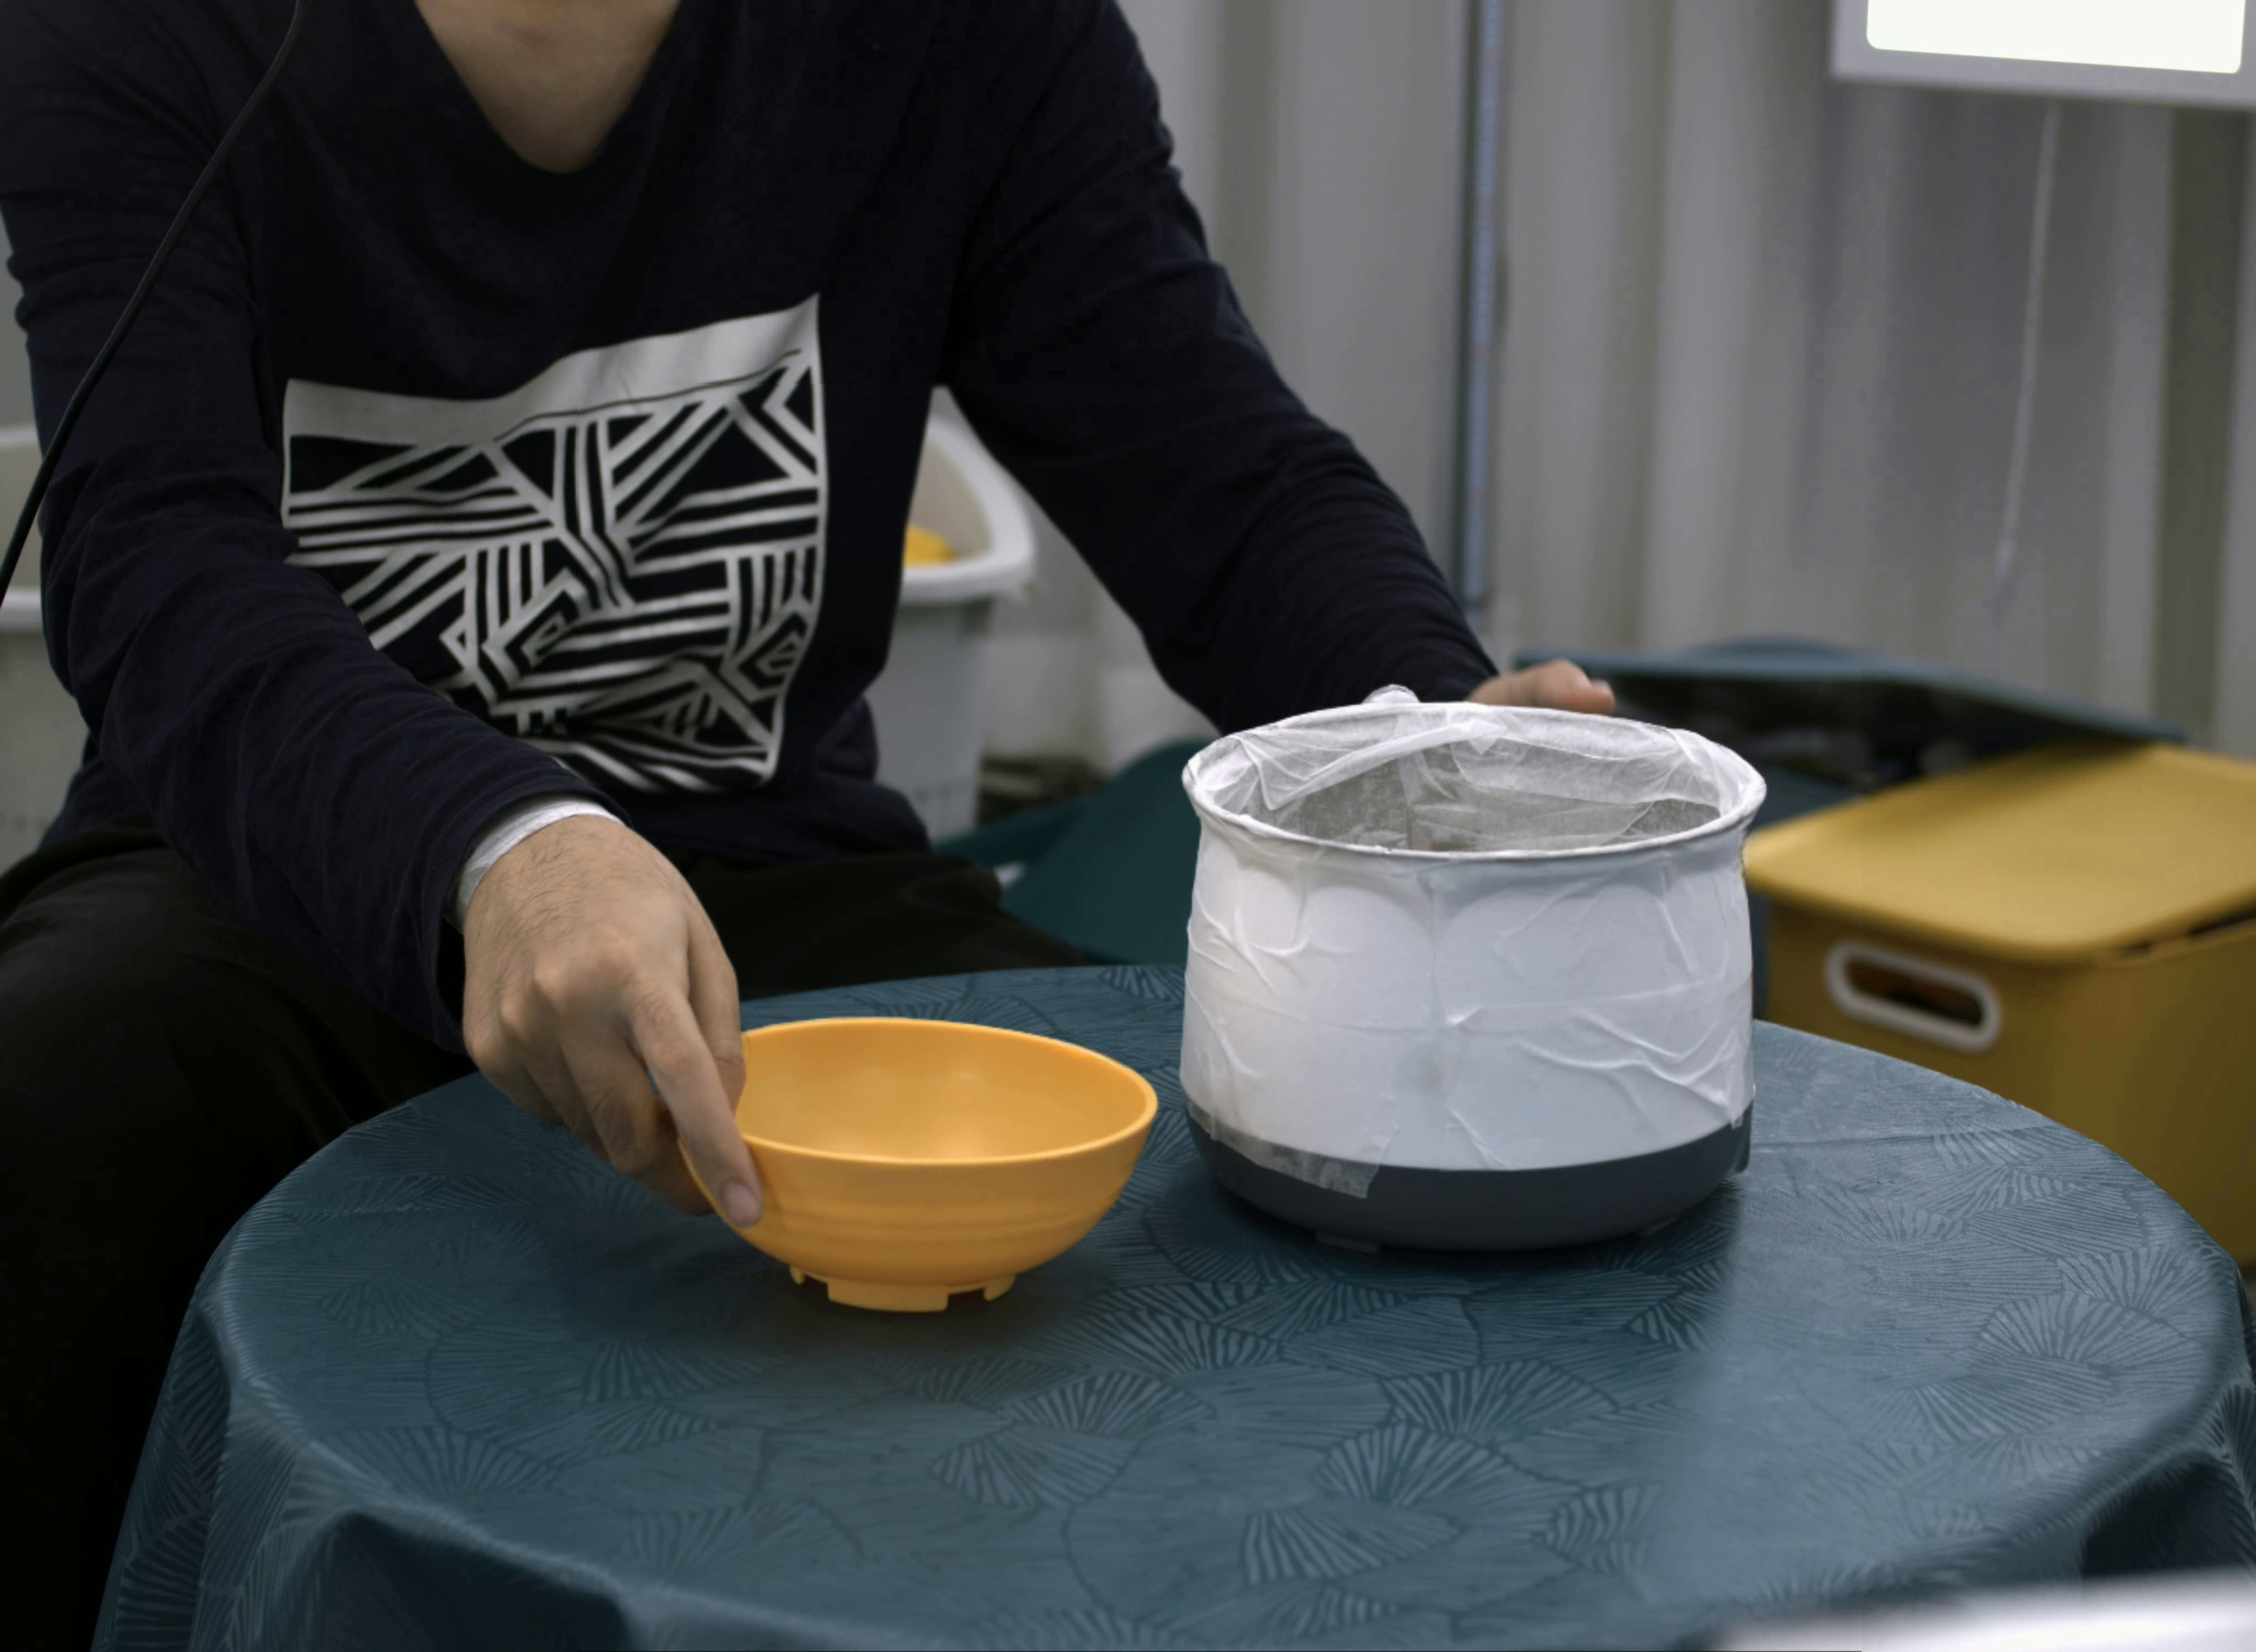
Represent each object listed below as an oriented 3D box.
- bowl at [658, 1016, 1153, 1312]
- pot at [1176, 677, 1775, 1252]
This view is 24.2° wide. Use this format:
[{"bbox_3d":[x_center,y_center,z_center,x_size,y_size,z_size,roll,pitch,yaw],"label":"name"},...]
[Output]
[{"bbox_3d":[-0.066,0.103,1.539,0.145,0.060,0.144,3,14,0],"label":"bowl"},{"bbox_3d":[0.098,0.038,1.637,0.179,0.137,0.231,-1,16,-14],"label":"pot"}]
